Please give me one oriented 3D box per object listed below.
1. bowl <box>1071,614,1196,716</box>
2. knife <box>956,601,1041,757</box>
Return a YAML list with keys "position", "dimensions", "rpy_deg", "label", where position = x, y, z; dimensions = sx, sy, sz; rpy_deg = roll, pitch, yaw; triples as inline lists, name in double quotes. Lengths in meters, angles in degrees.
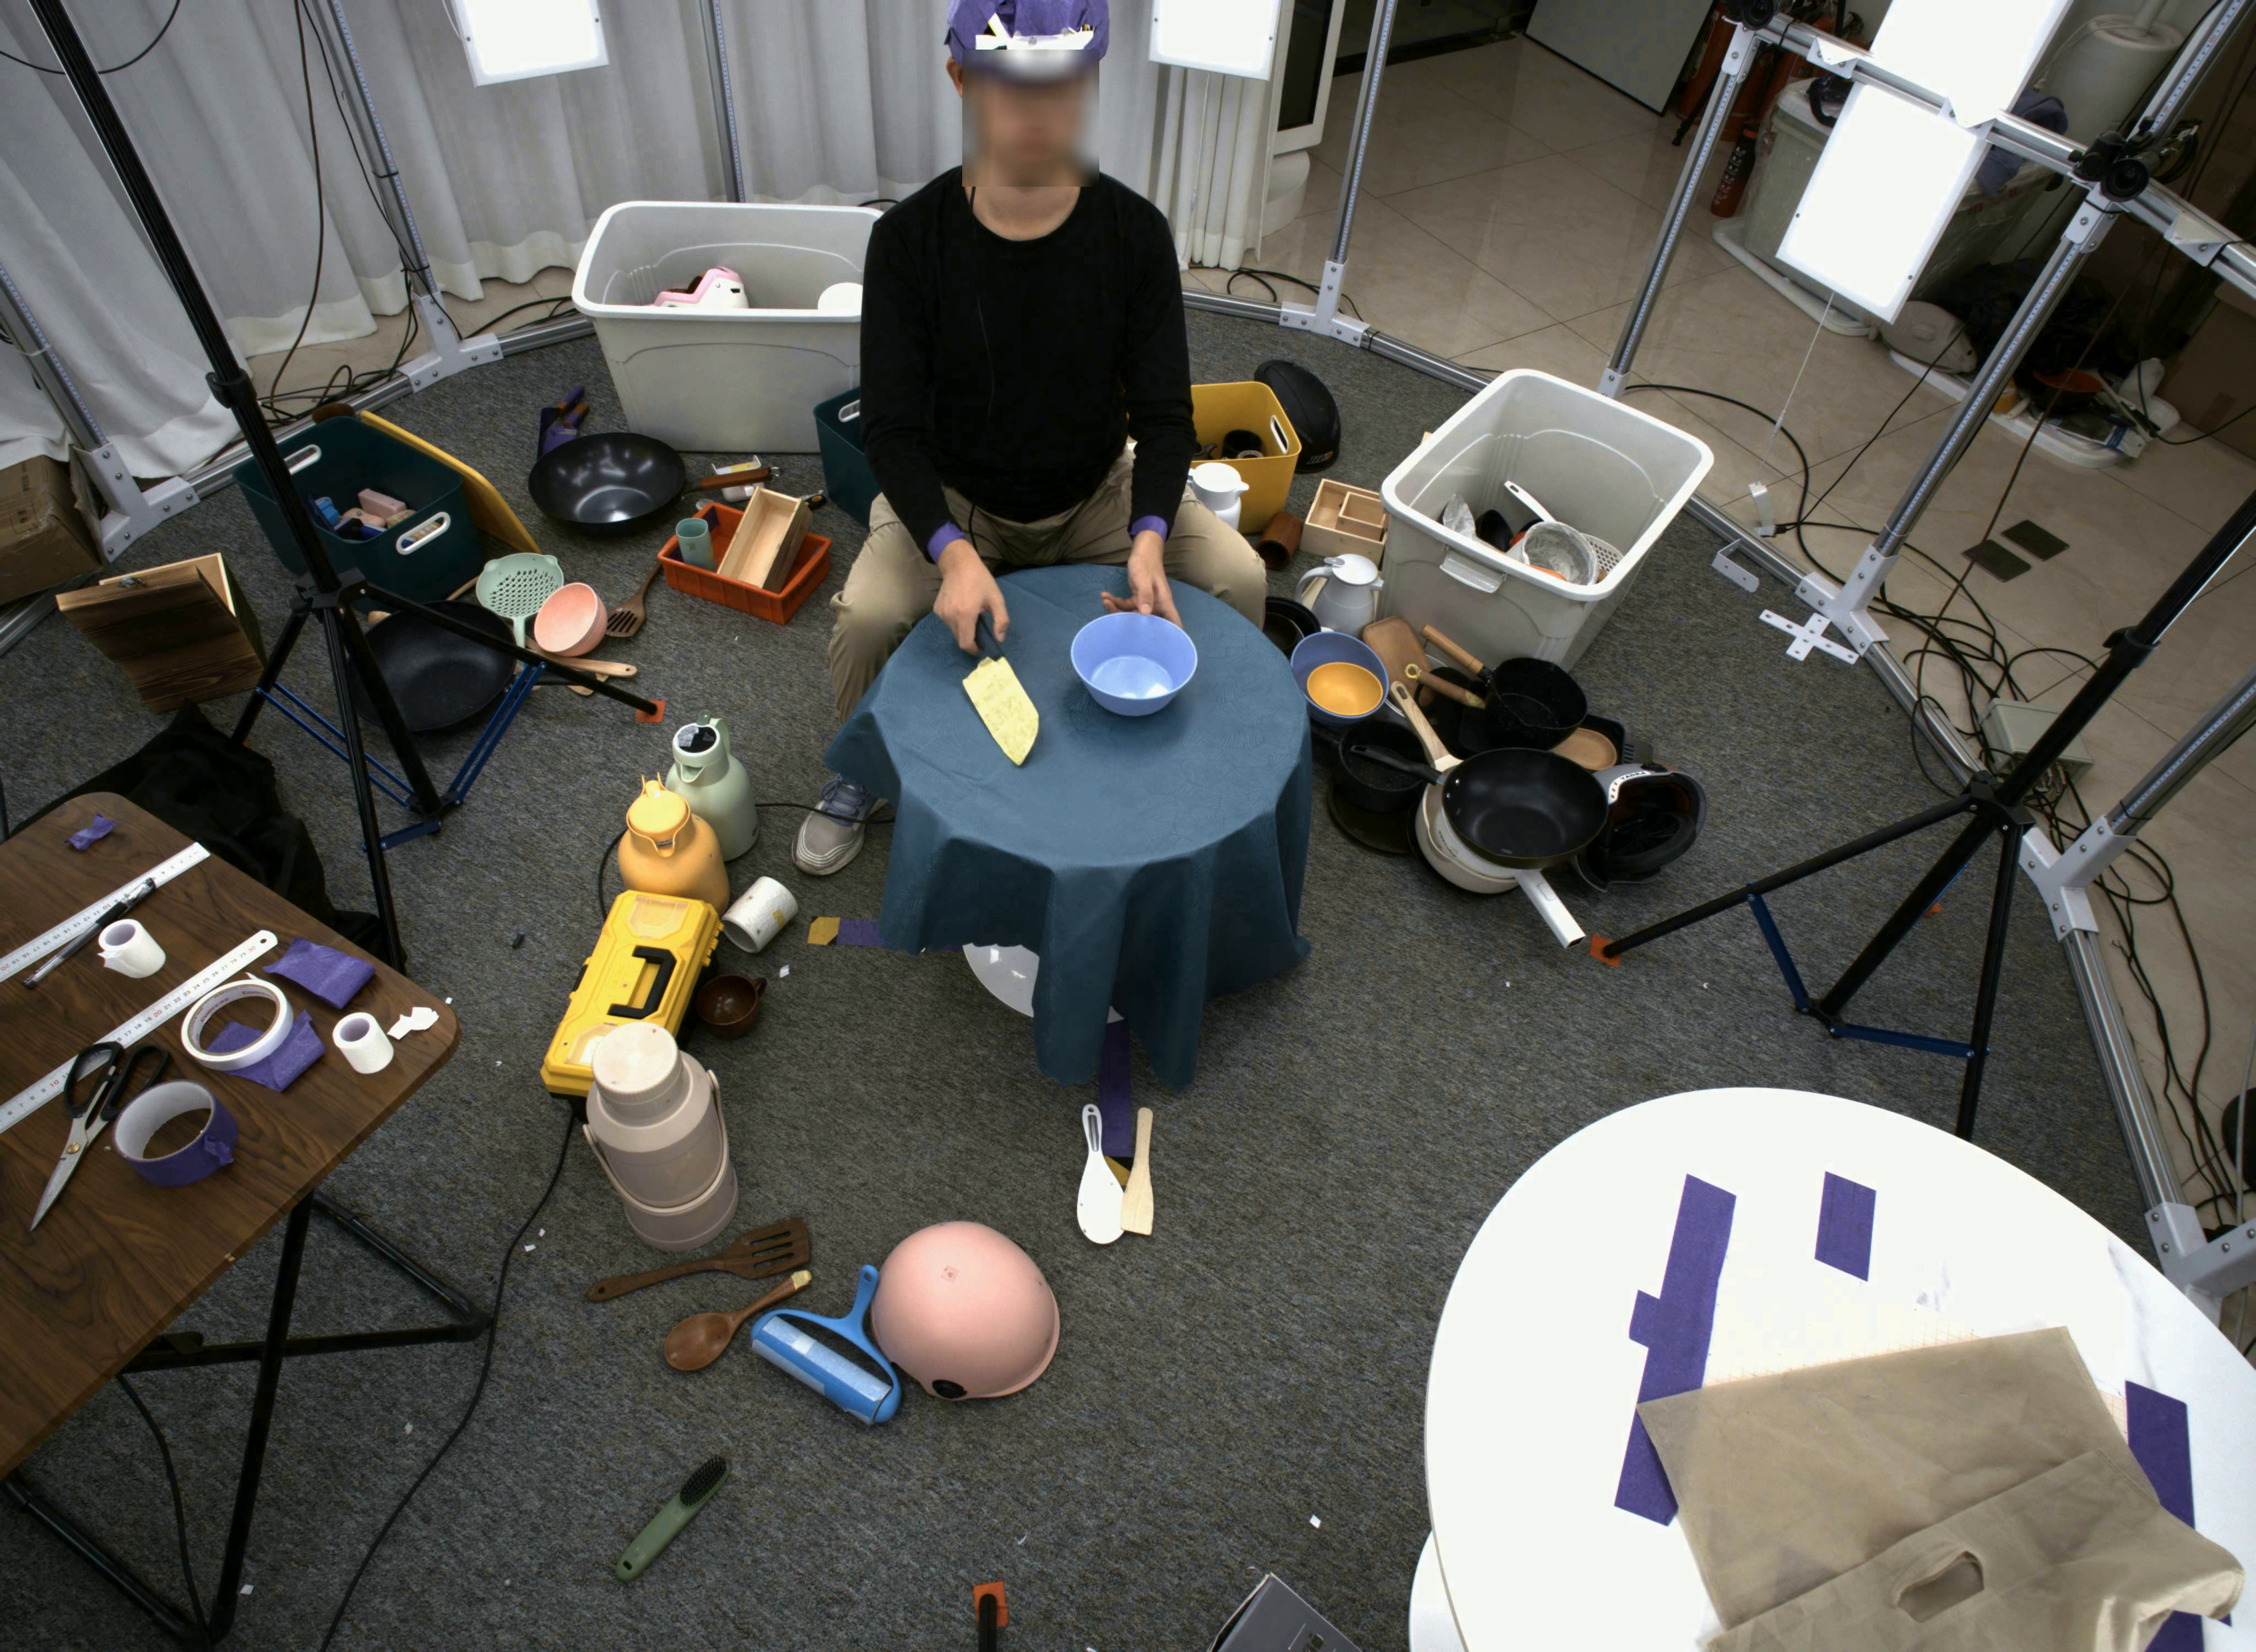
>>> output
- position: [0.006, -0.219, 1.815]
  dimensions: [0.176, 0.068, 0.180]
  rpy_deg: [1, 49, -2]
  label: "bowl"
- position: [-0.192, -0.206, 1.799]
  dimensions: [0.081, 0.027, 0.296]
  rpy_deg: [-33, 58, 10]
  label: "knife"
